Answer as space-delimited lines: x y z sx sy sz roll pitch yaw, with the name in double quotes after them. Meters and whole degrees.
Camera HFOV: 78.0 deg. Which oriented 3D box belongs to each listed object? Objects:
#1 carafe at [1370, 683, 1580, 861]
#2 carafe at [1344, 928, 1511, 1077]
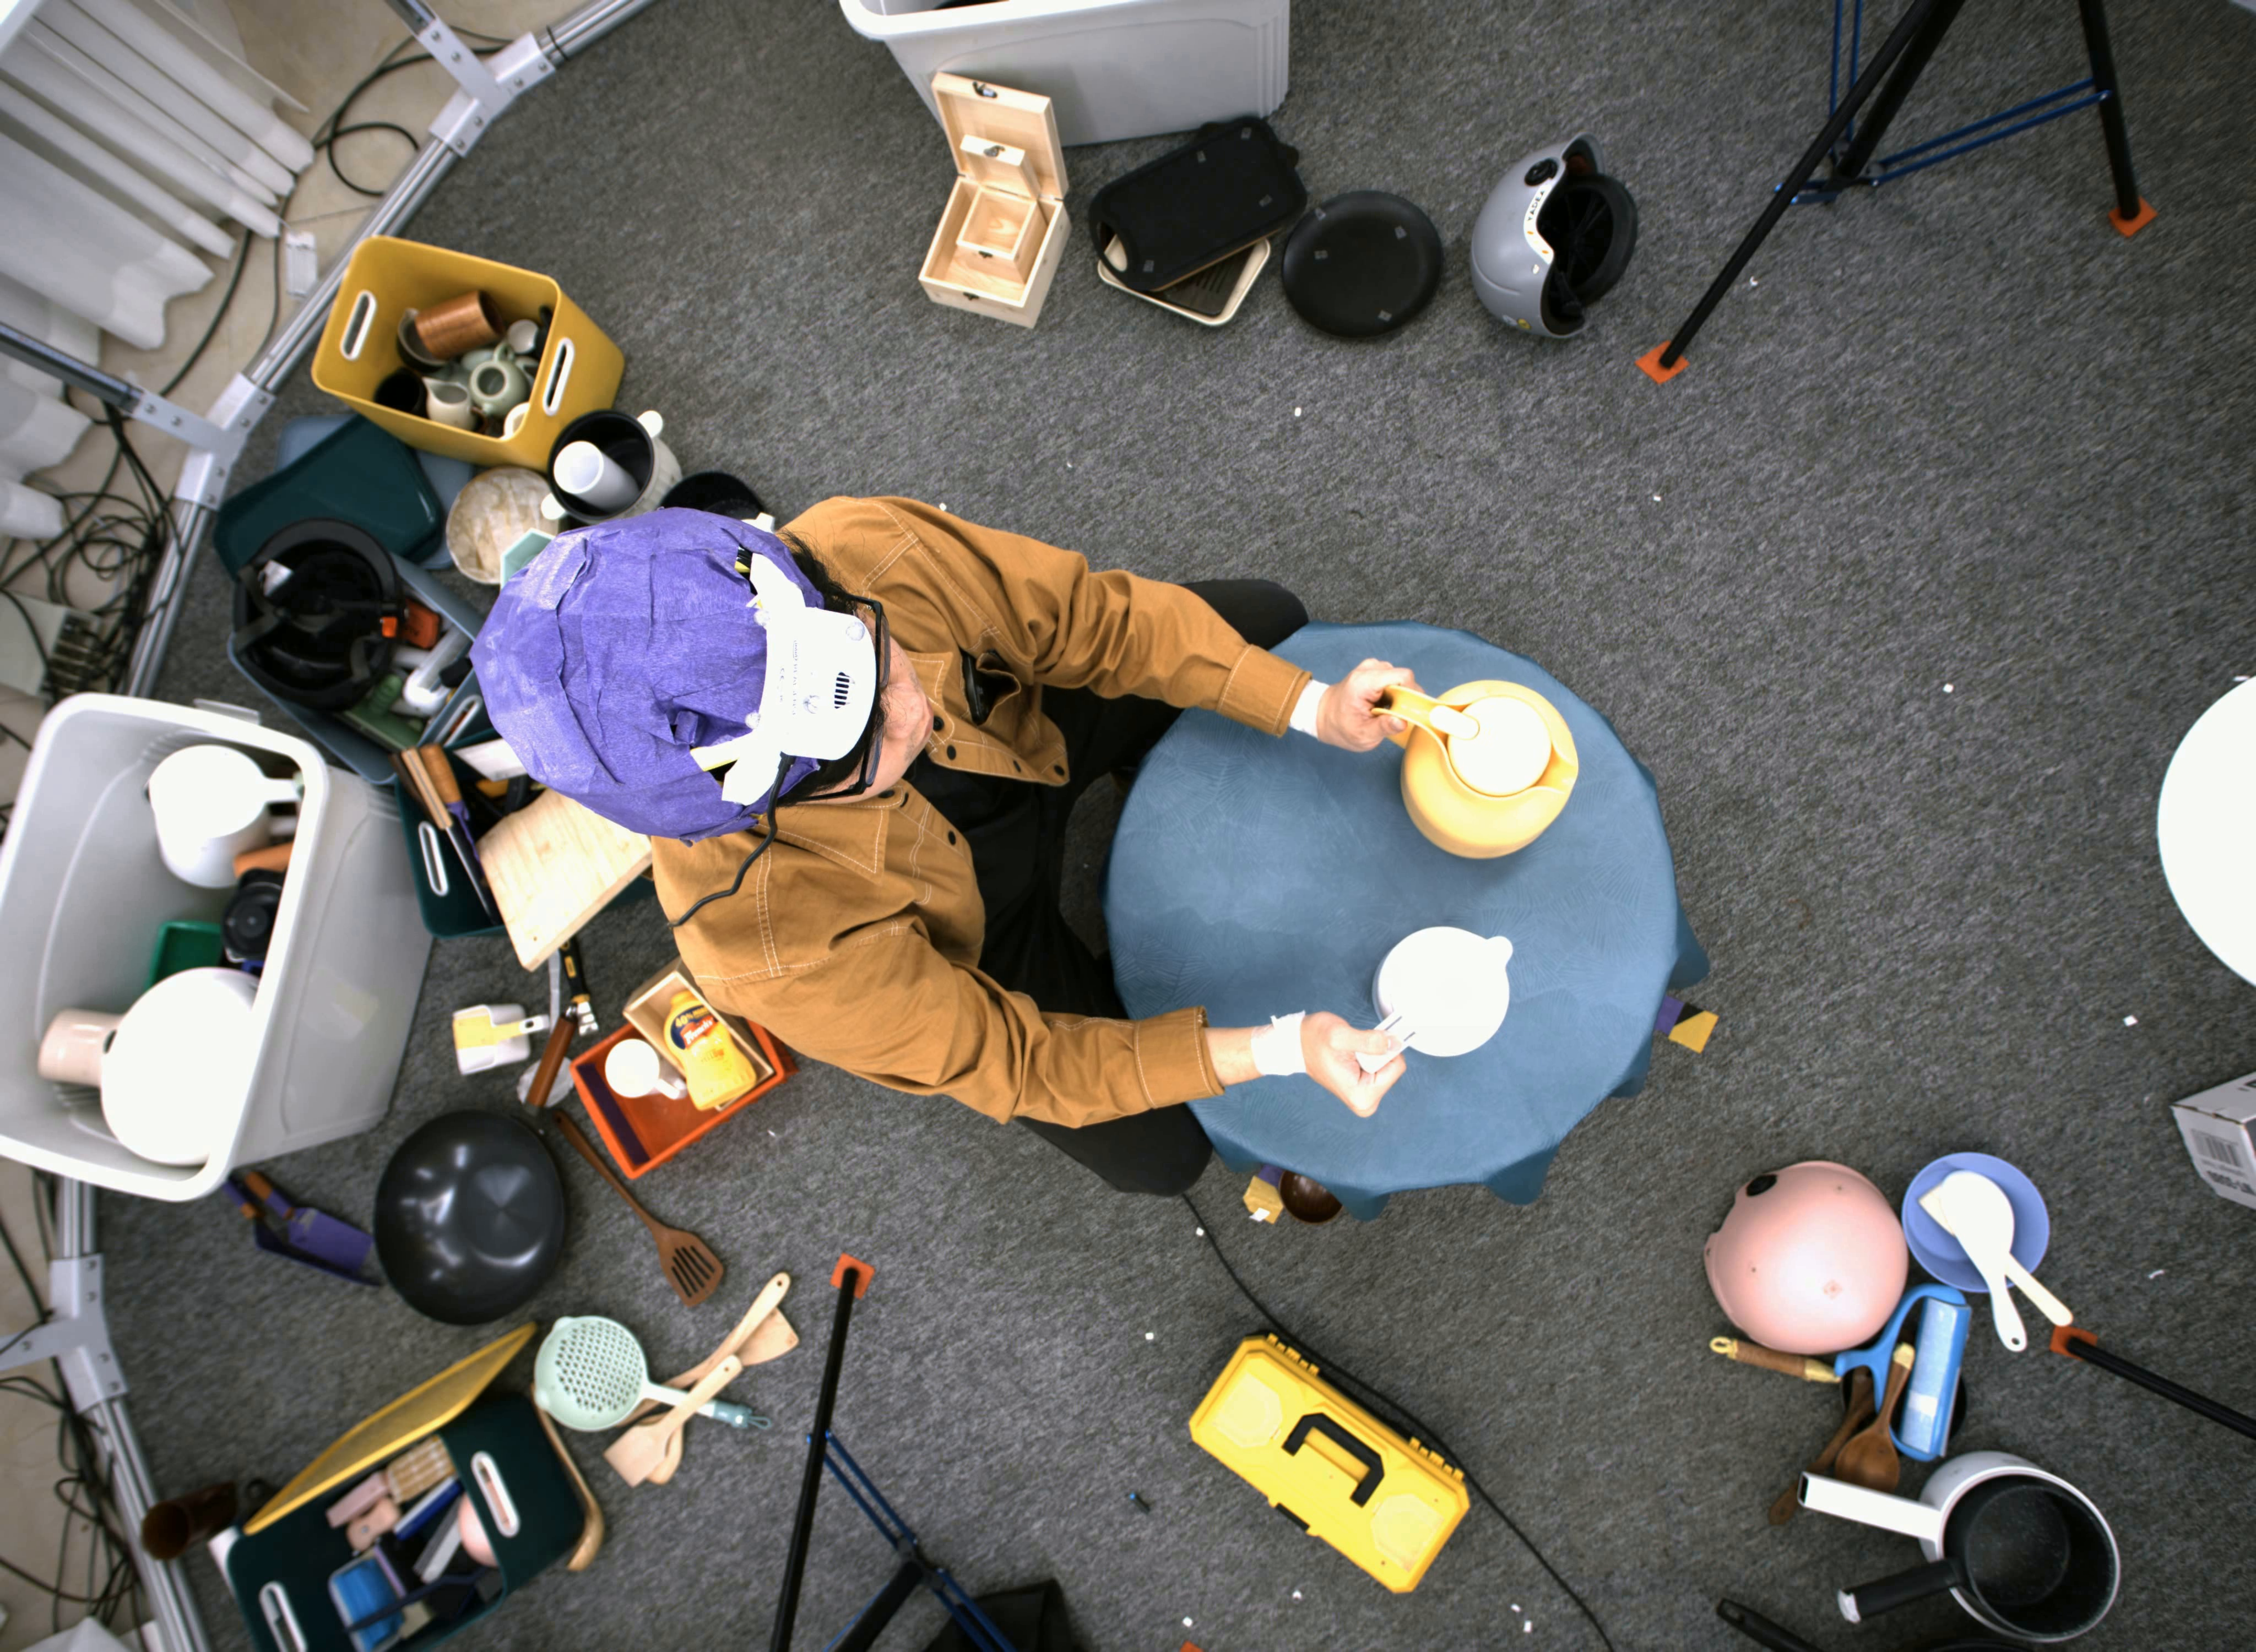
0.329 -0.068 1.323 0.202 0.261 0.163 30 88 10 "carafe"
0.282 0.169 1.317 0.173 0.269 0.123 -40 82 3 "carafe"
